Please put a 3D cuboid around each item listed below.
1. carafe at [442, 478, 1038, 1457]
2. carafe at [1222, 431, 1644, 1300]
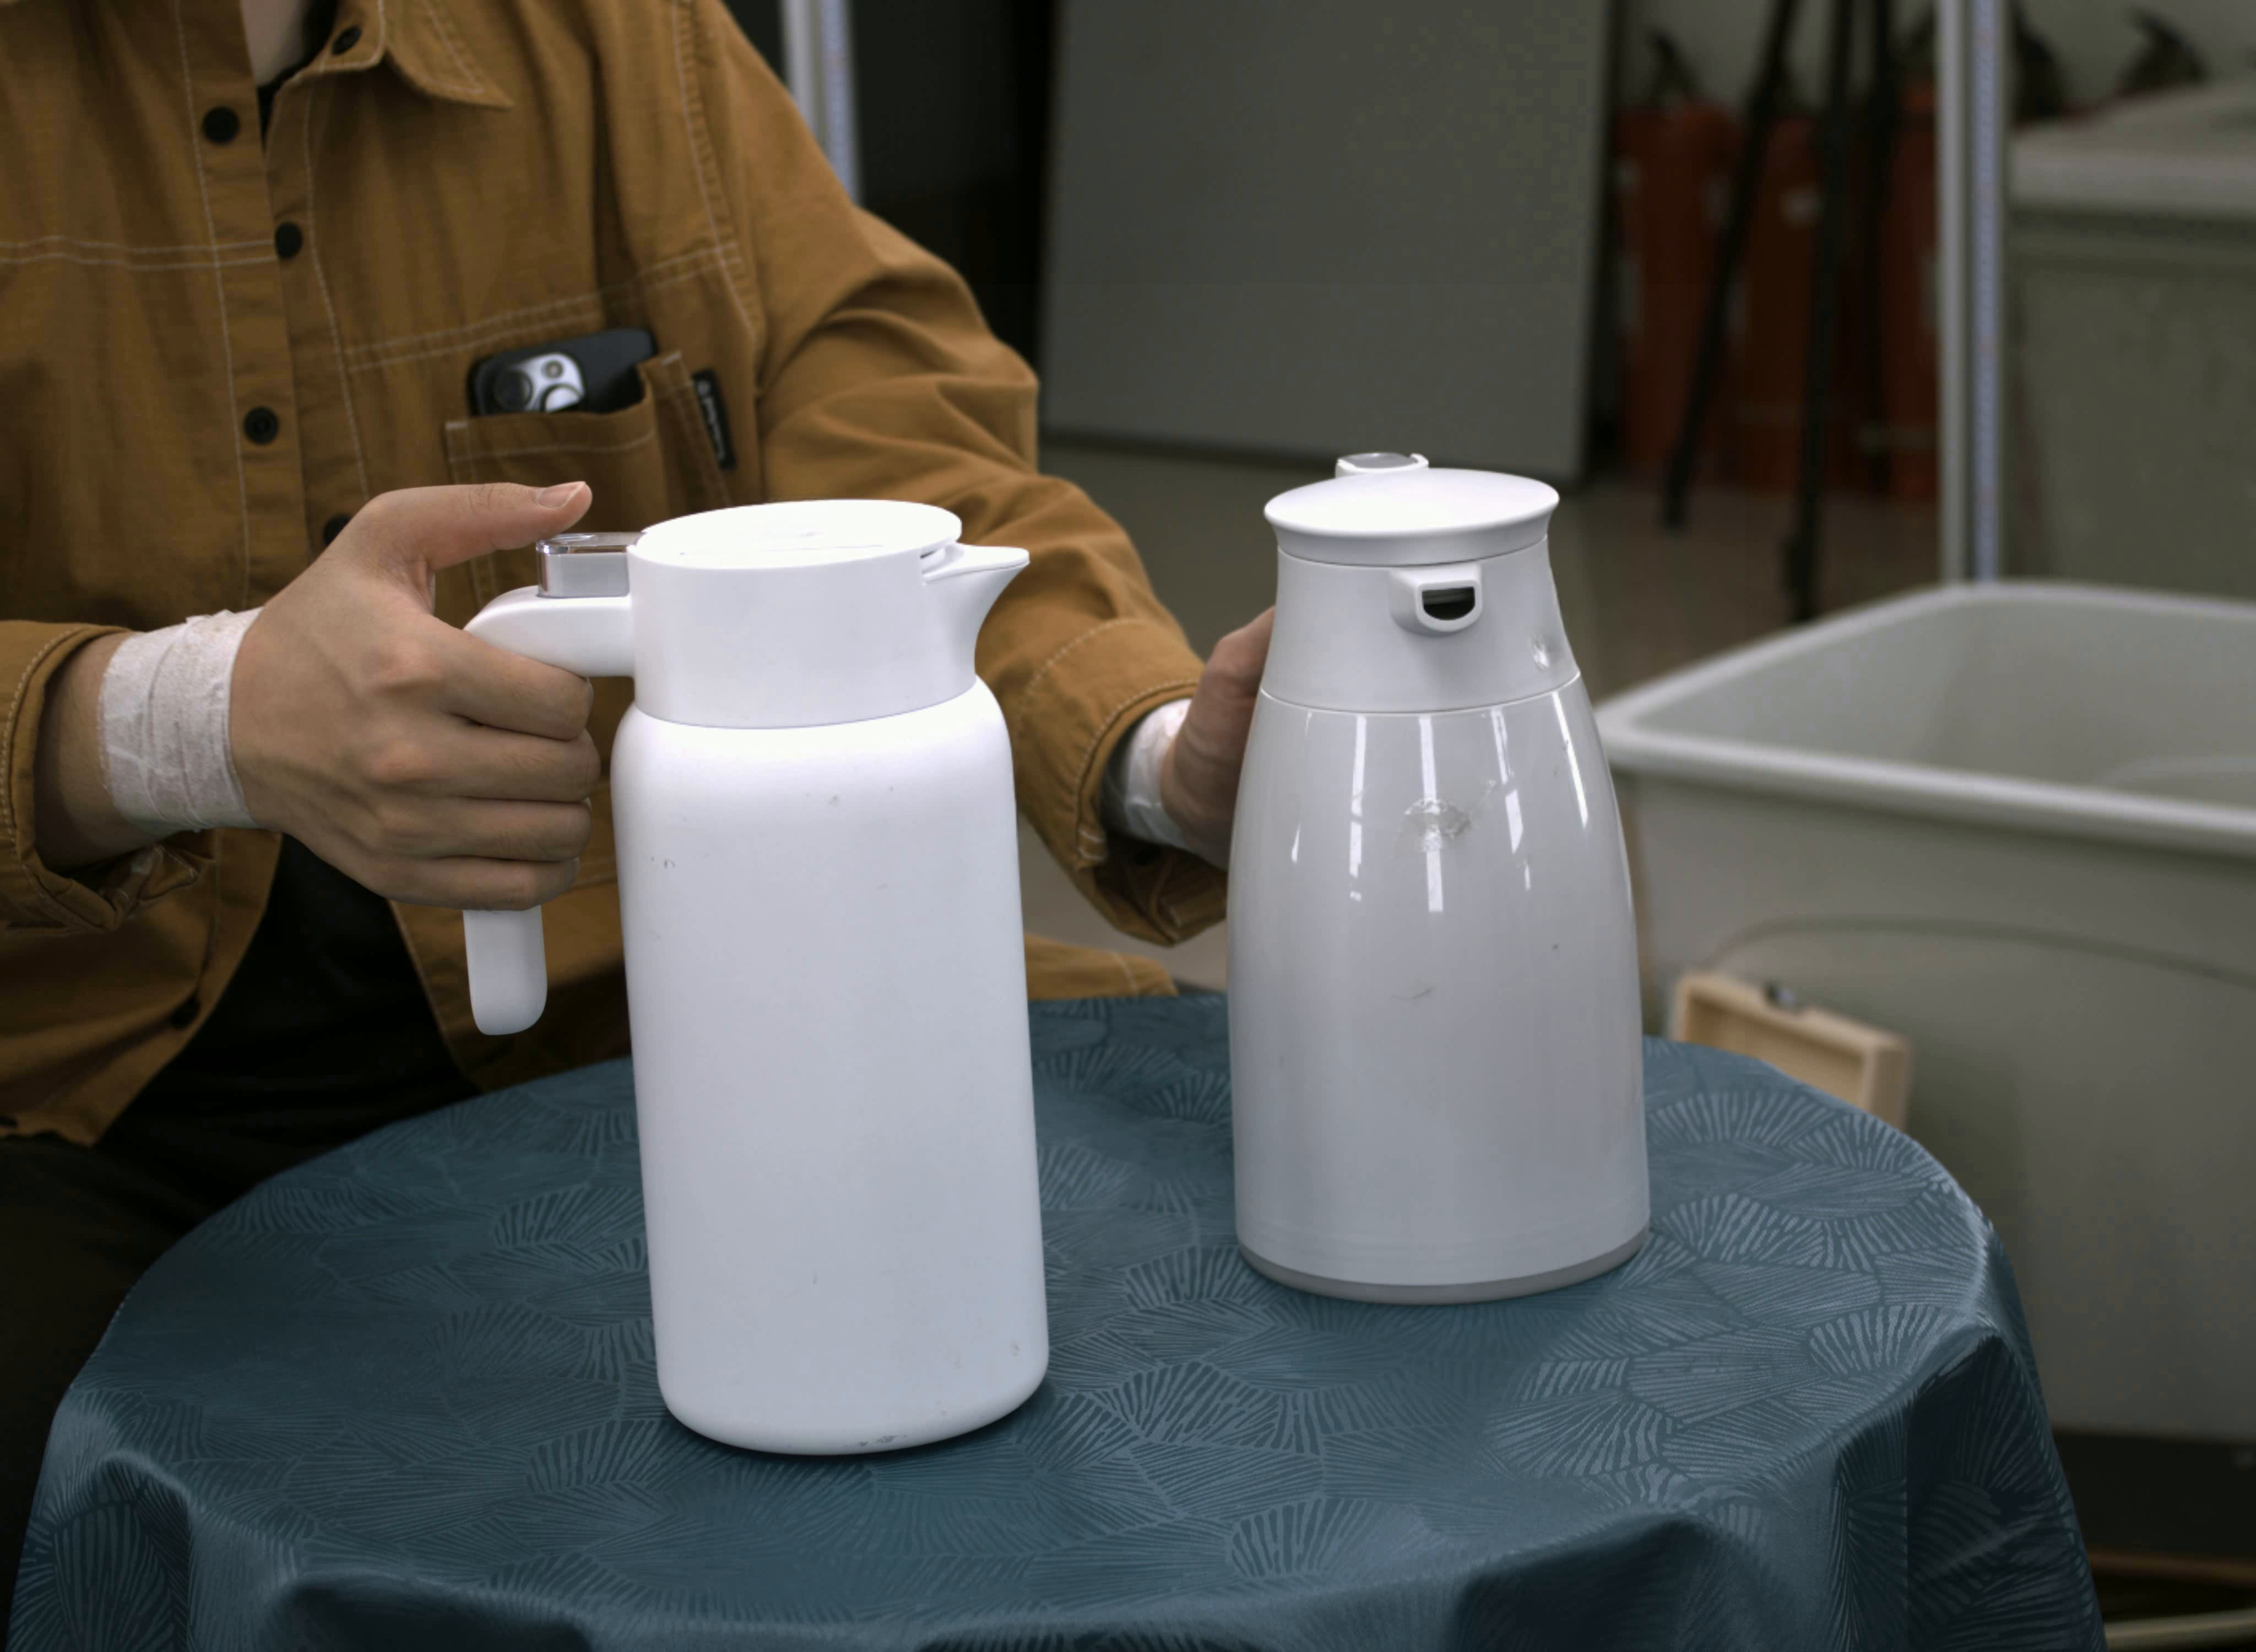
[{"bbox_3d":[-0.107,0.040,1.570,0.171,0.272,0.123,-2,15,8],"label":"carafe"},{"bbox_3d":[0.088,0.004,1.696,0.130,0.251,0.168,-5,13,-6],"label":"carafe"}]
